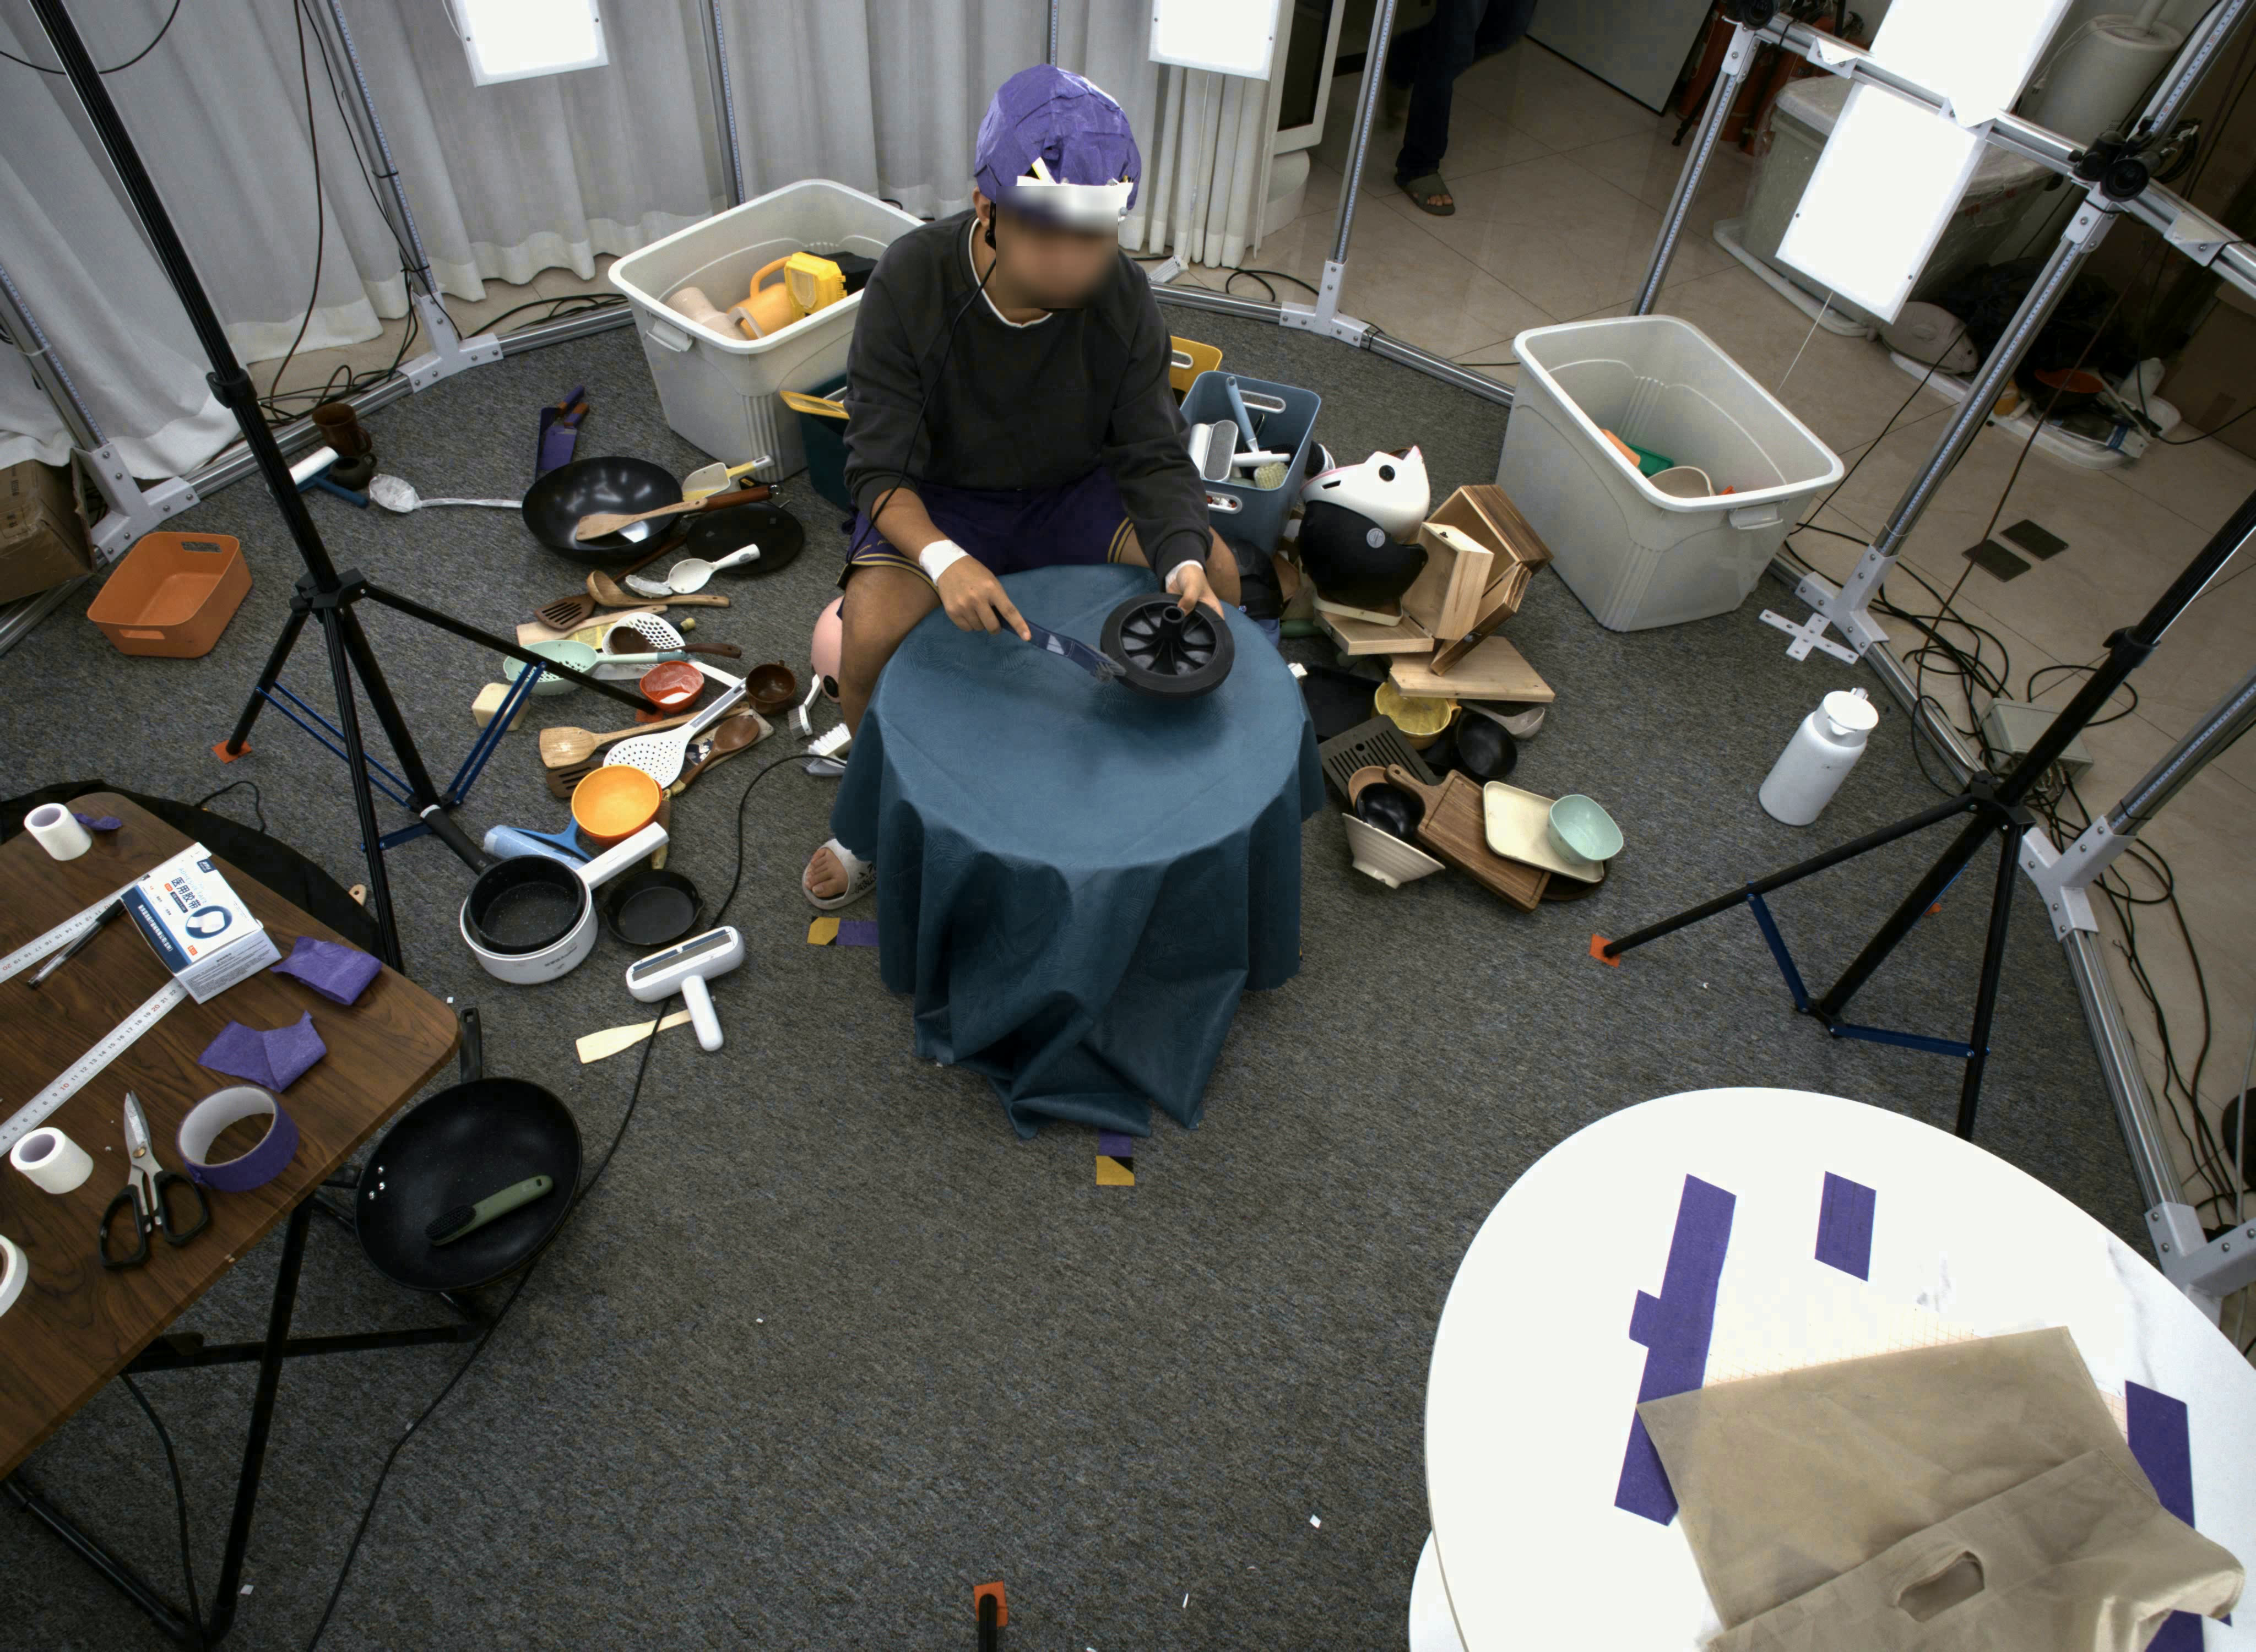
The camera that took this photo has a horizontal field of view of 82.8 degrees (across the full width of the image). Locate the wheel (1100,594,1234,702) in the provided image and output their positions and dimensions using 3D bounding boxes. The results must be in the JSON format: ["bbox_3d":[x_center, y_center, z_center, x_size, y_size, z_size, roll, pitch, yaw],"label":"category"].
[{"bbox_3d":[0.056,-0.263,1.773,0.187,0.077,0.194,7,52,-1],"label":"wheel"}]

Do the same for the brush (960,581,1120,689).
[{"bbox_3d":[-0.131,-0.262,1.746,0.275,0.033,0.096,27,26,18],"label":"brush"}]
